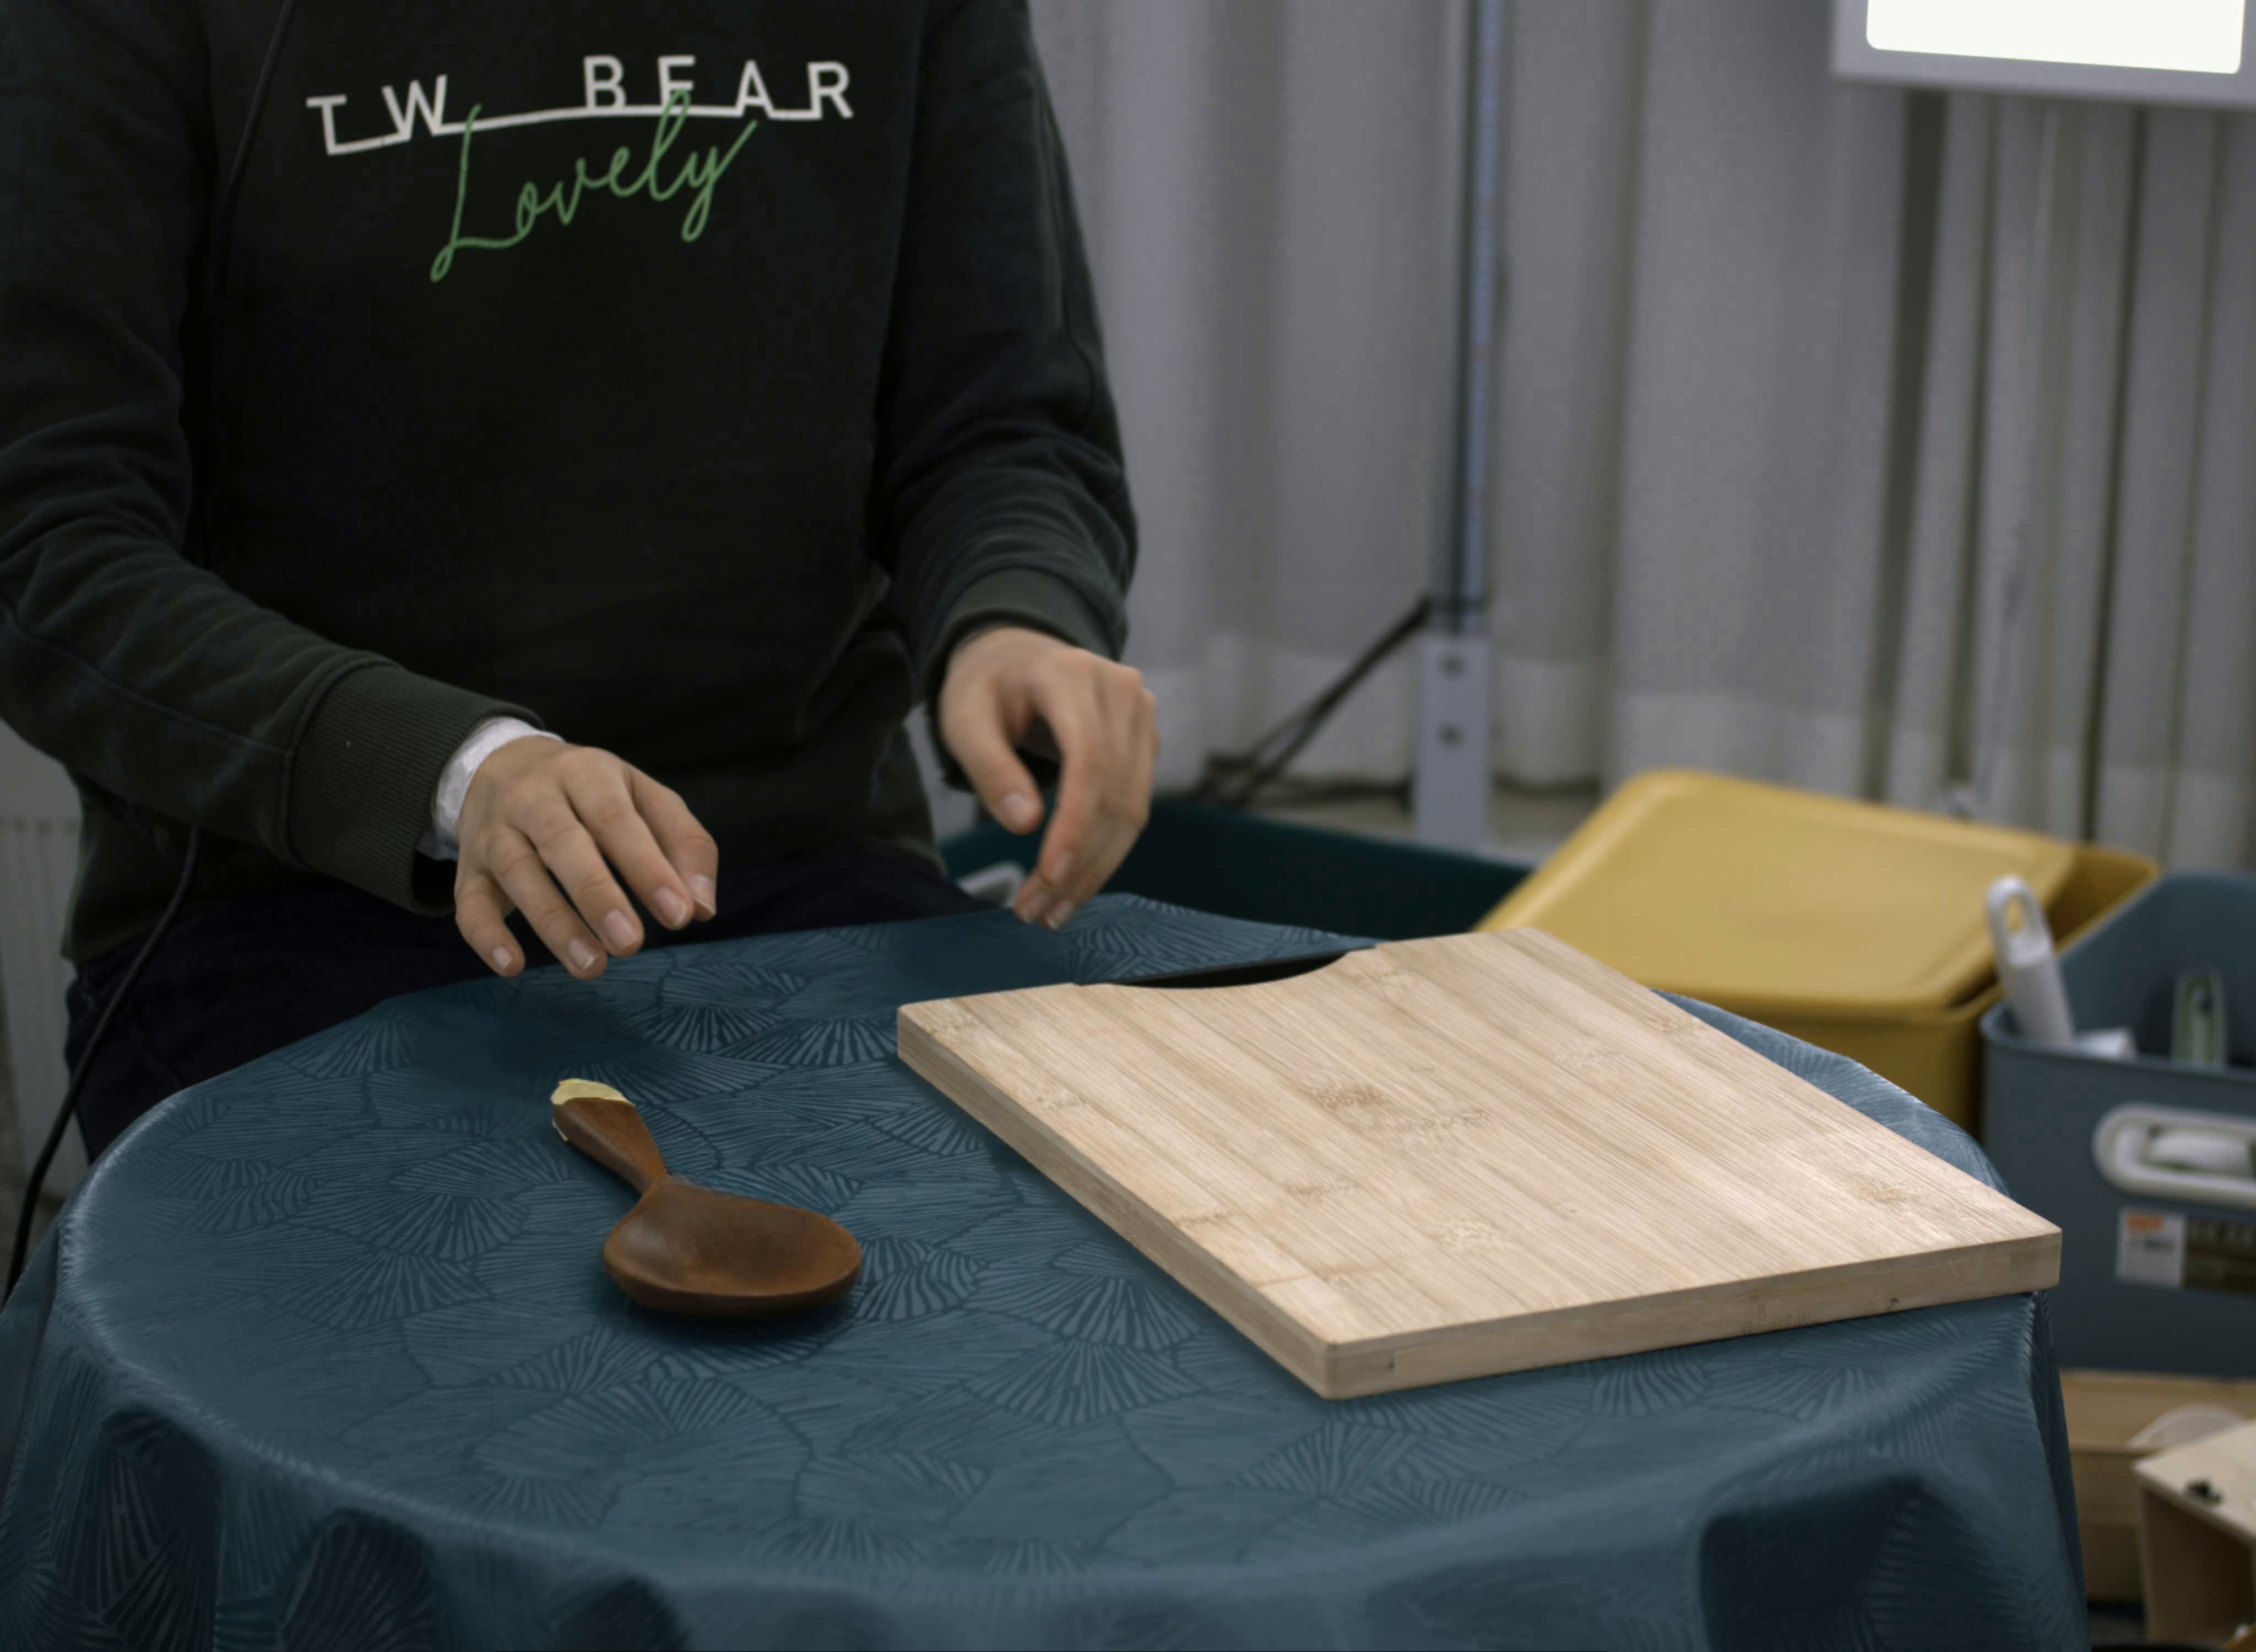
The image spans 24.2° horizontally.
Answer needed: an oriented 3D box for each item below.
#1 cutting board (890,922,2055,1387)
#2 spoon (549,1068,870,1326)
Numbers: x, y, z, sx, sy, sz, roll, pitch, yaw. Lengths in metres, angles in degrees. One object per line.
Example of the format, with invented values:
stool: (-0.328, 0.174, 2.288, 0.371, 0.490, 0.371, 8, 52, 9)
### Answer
cutting board: (0.097, 0.097, 1.657, 0.251, 0.024, 0.344, -6, 17, -24)
spoon: (-0.136, 0.112, 1.589, 0.075, 0.017, 0.213, -7, 18, -20)
